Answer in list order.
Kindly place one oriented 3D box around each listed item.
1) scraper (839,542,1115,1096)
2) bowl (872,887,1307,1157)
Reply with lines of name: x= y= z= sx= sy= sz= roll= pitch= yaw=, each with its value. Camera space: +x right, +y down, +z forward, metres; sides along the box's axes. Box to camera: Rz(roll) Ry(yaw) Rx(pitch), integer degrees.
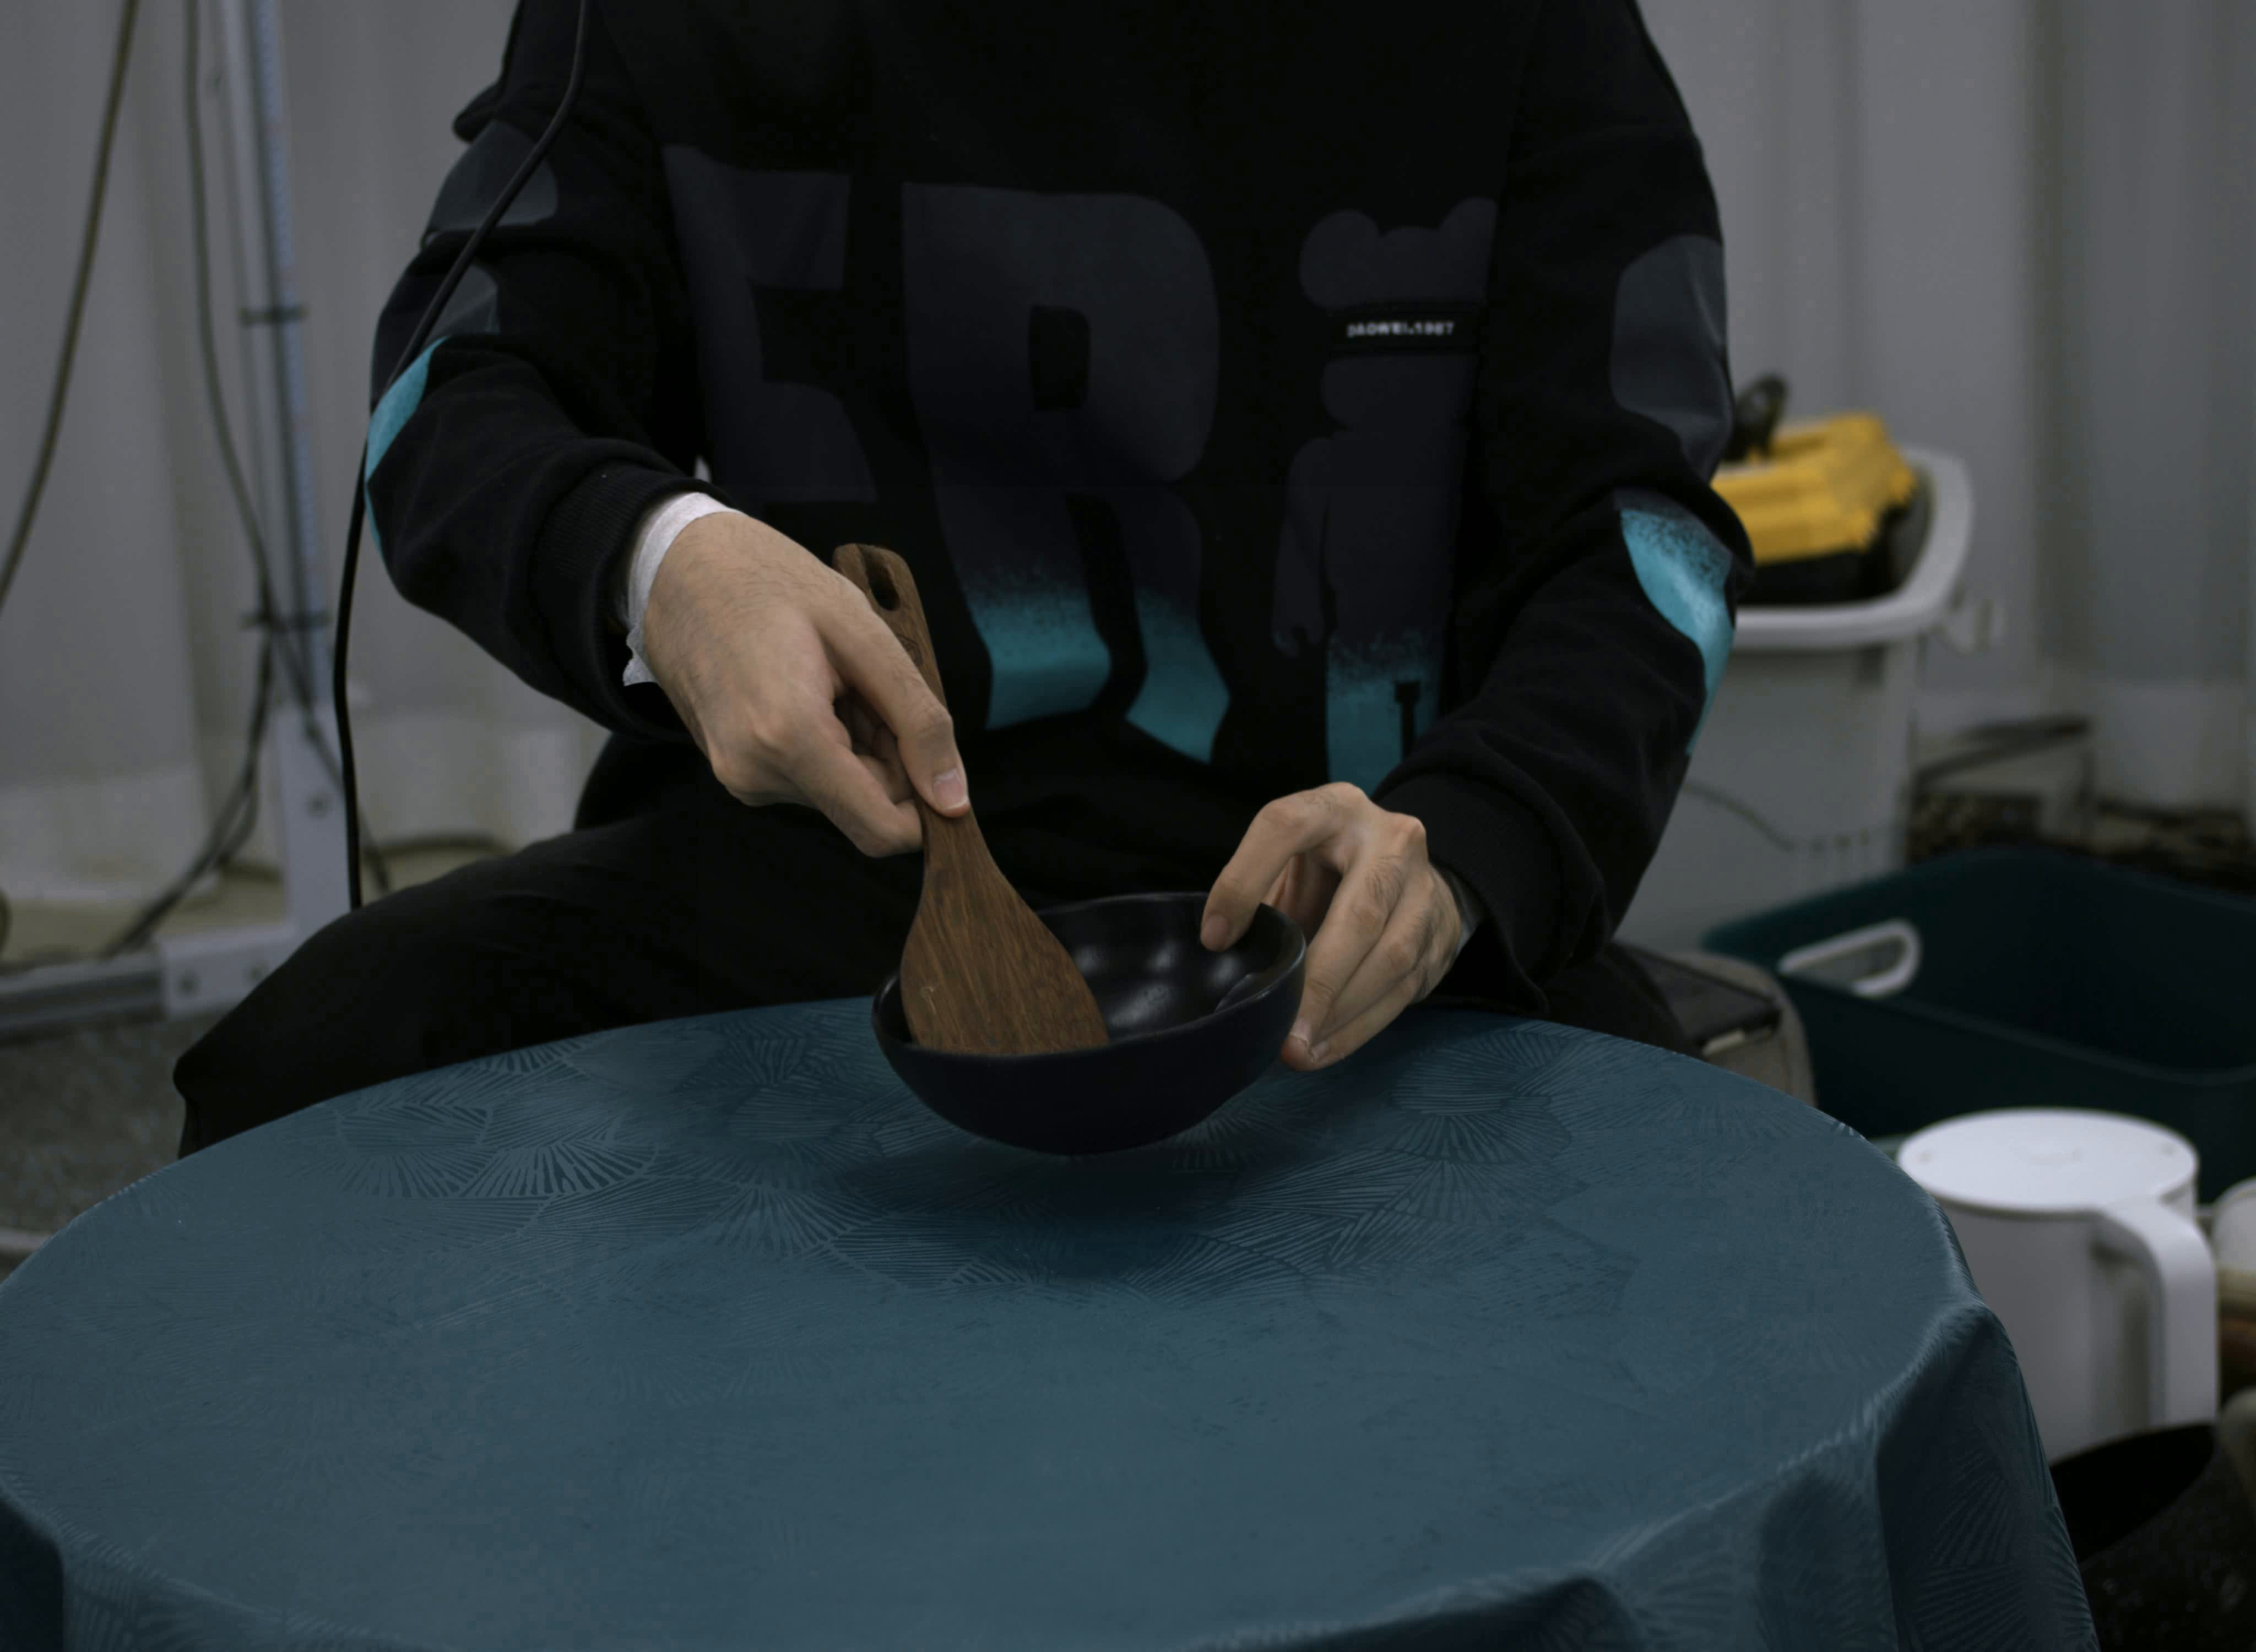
scraper: x=-0.056 y=-0.002 z=1.746 sx=0.075 sy=0.214 sz=0.011 roll=3 pitch=-33 yaw=-35
bowl: x=-0.008 y=0.067 z=1.716 sx=0.139 sy=0.049 sz=0.141 roll=-10 pitch=18 yaw=3
